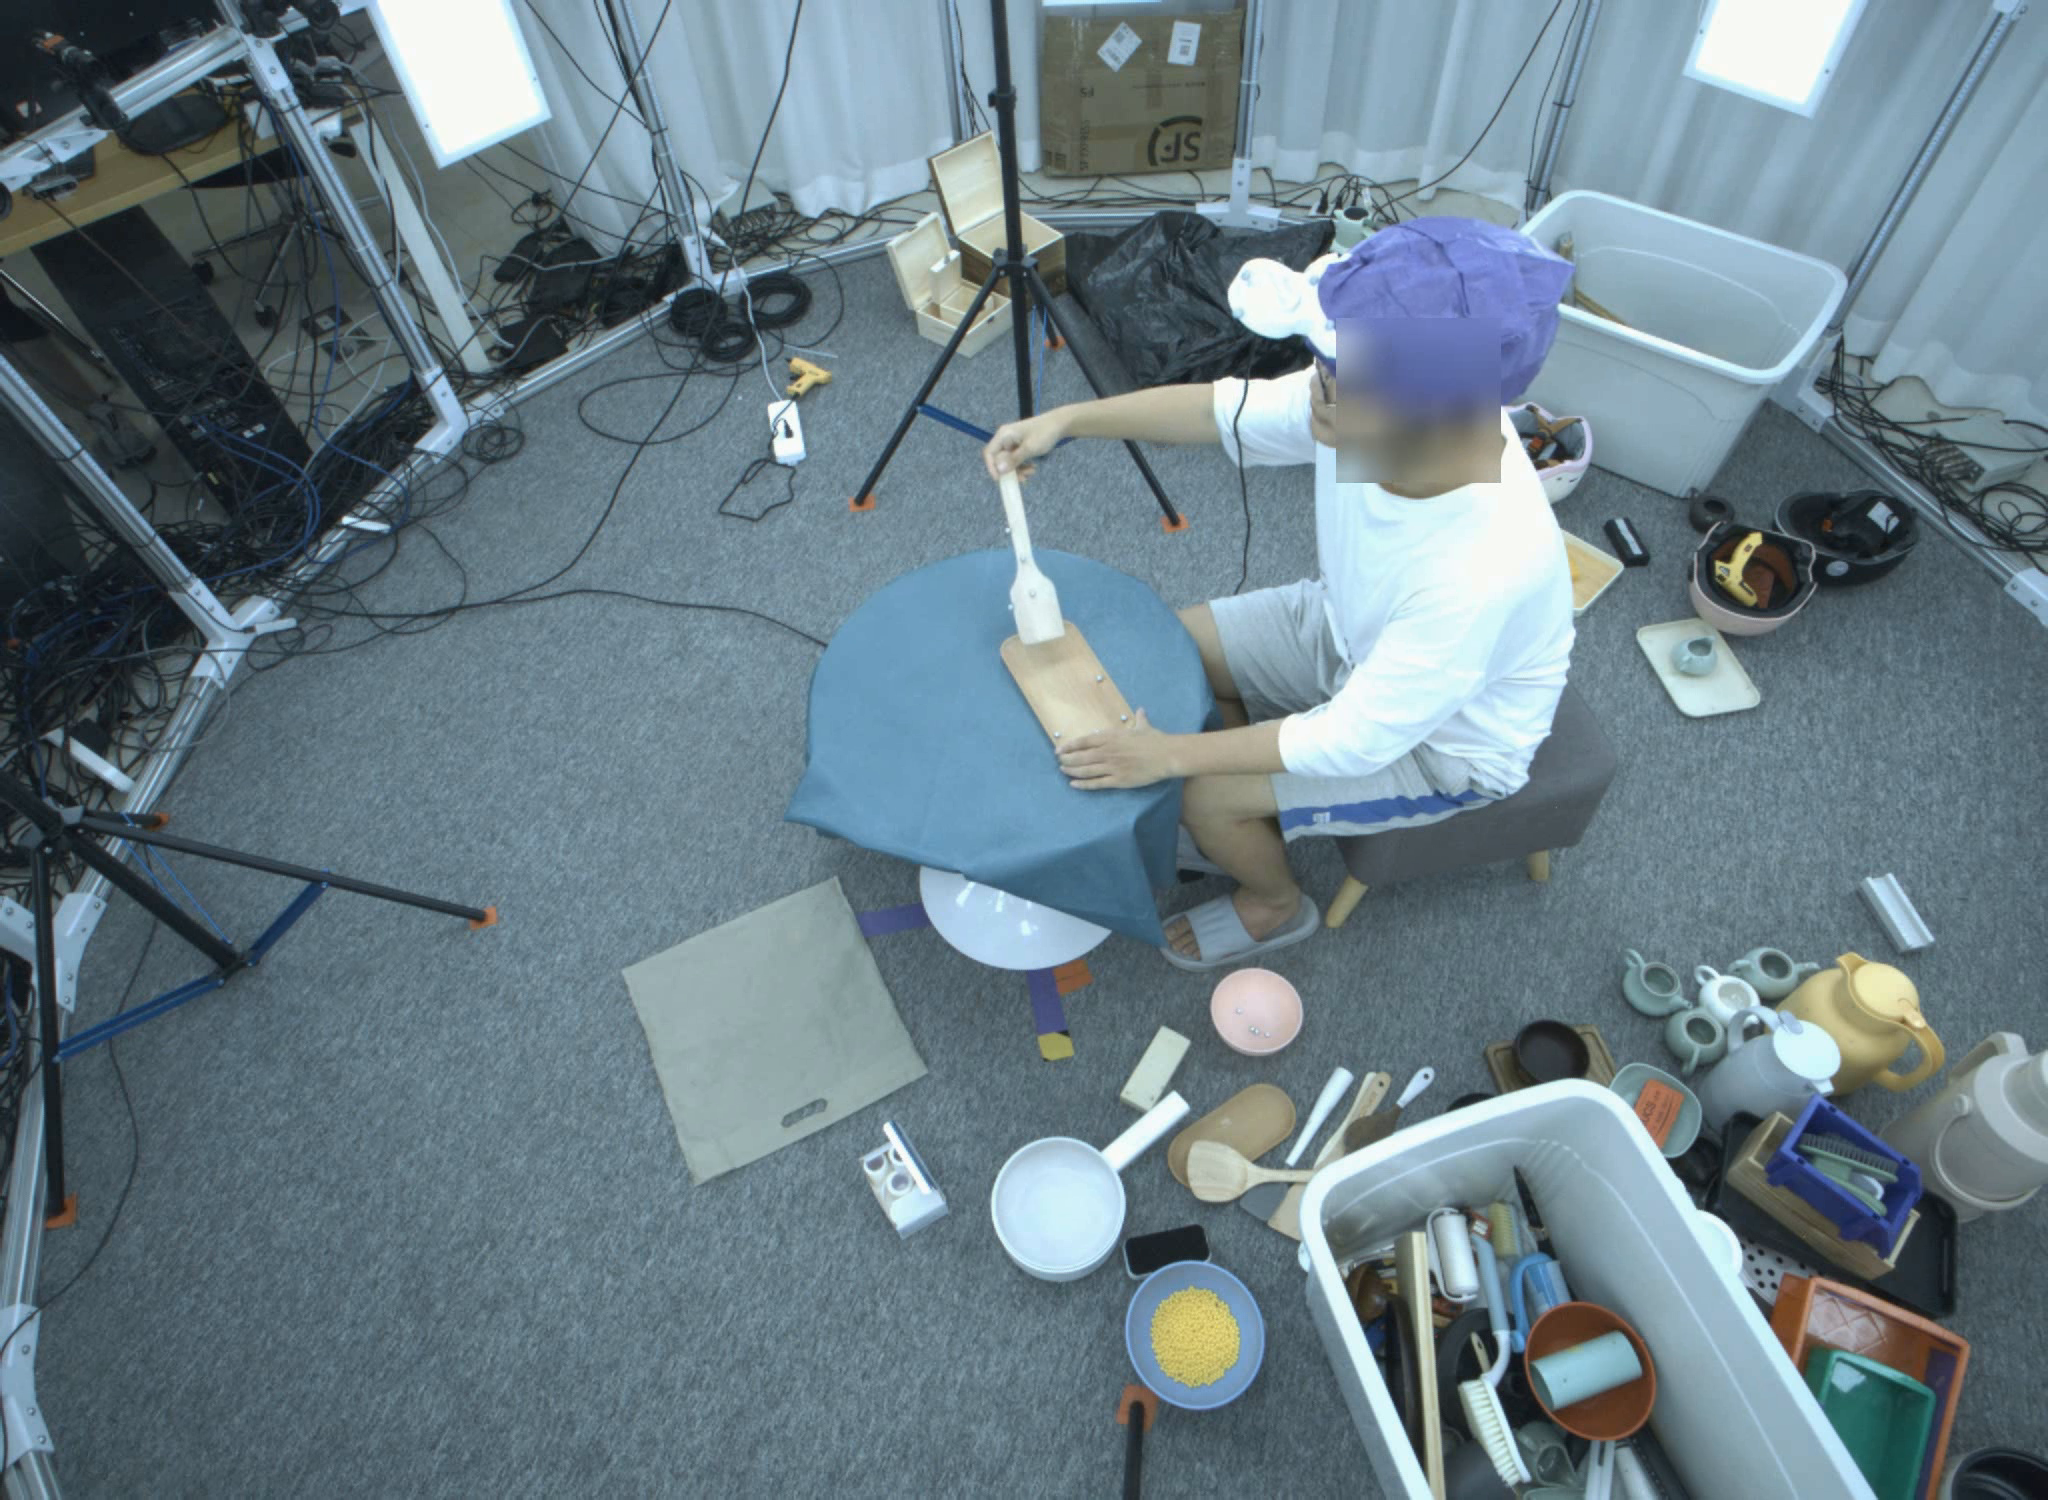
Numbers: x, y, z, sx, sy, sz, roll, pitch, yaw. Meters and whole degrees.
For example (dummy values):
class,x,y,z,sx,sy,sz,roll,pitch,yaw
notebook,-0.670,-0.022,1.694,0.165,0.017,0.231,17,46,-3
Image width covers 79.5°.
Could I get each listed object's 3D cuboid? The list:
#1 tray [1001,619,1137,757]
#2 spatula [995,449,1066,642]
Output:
class,x,y,z,sx,sy,sz,roll,pitch,yaw
tray,0.064,-0.096,1.842,0.131,0.023,0.246,-19,55,-15
spatula,-0.003,-0.309,1.833,0.073,0.010,0.294,-14,96,-14
